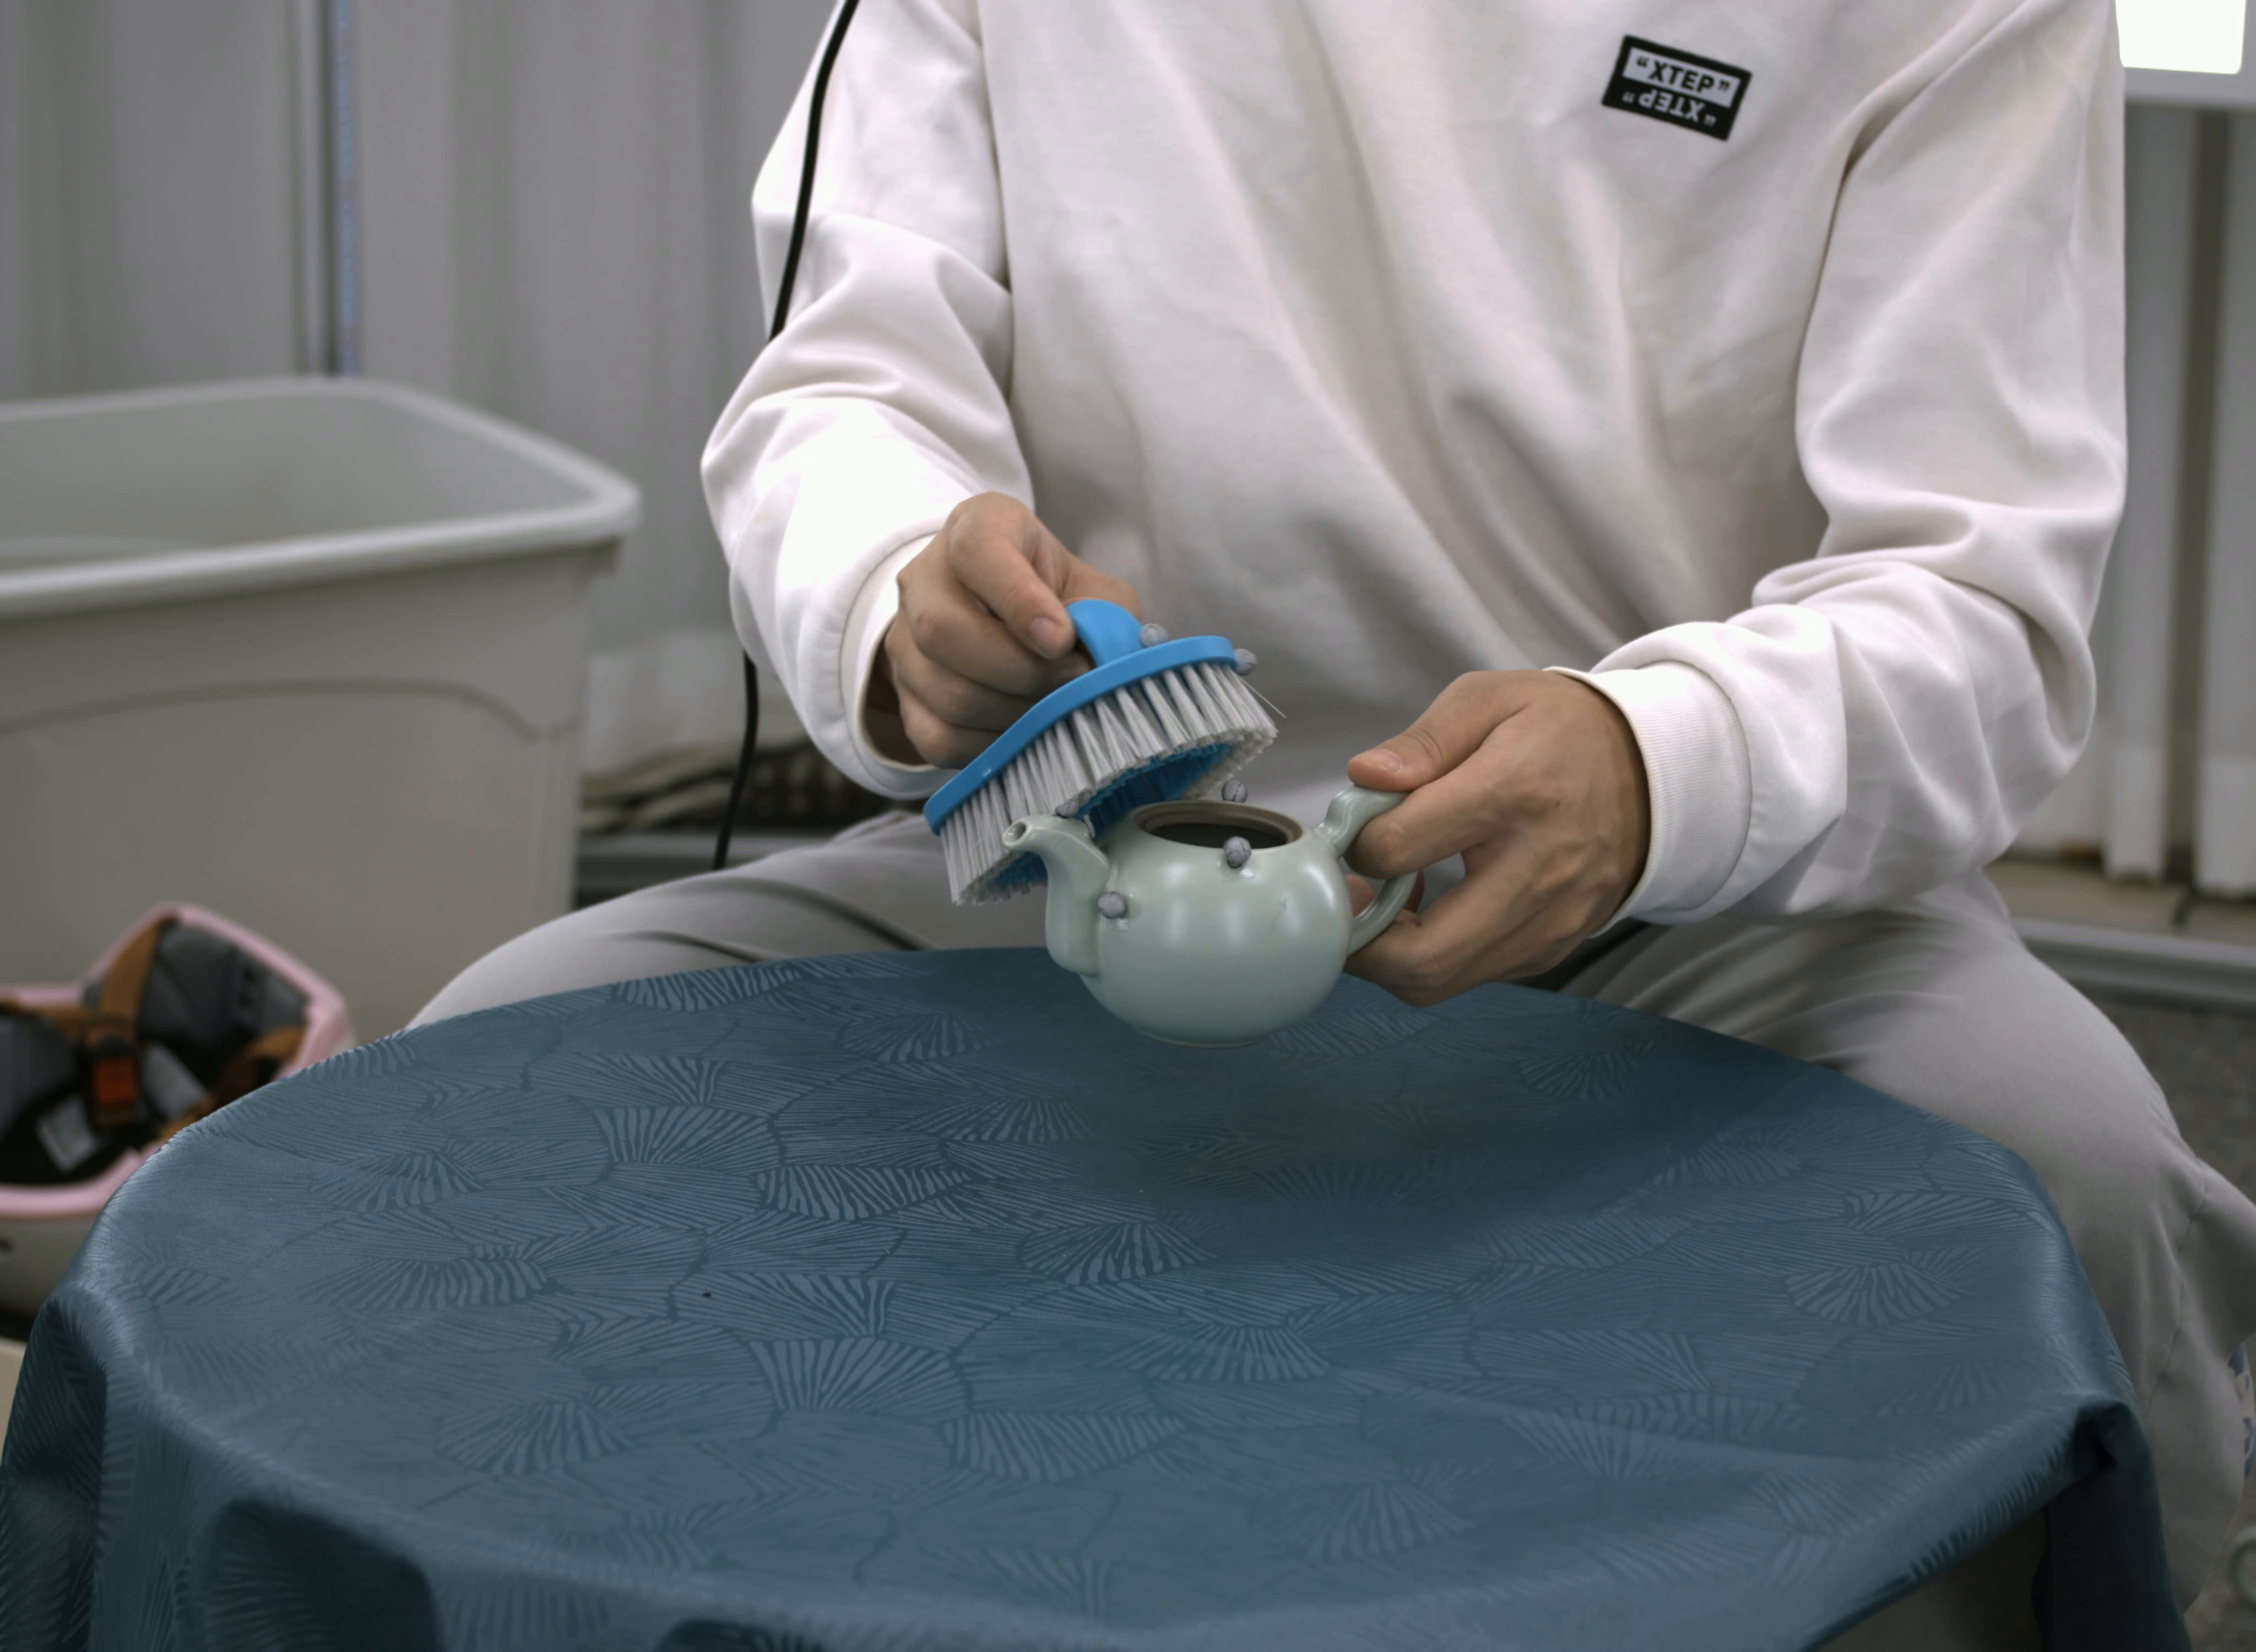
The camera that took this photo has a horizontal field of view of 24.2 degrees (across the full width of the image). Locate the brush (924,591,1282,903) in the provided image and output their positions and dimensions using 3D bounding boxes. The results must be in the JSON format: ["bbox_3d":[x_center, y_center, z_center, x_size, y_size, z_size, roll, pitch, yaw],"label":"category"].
[{"bbox_3d":[-0.016,-0.031,1.635,0.084,0.063,0.141,-21,-11,-34],"label":"brush"}]

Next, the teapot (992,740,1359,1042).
[{"bbox_3d":[0.016,0.025,1.618,0.144,0.075,0.087,-20,32,-34],"label":"teapot"}]
